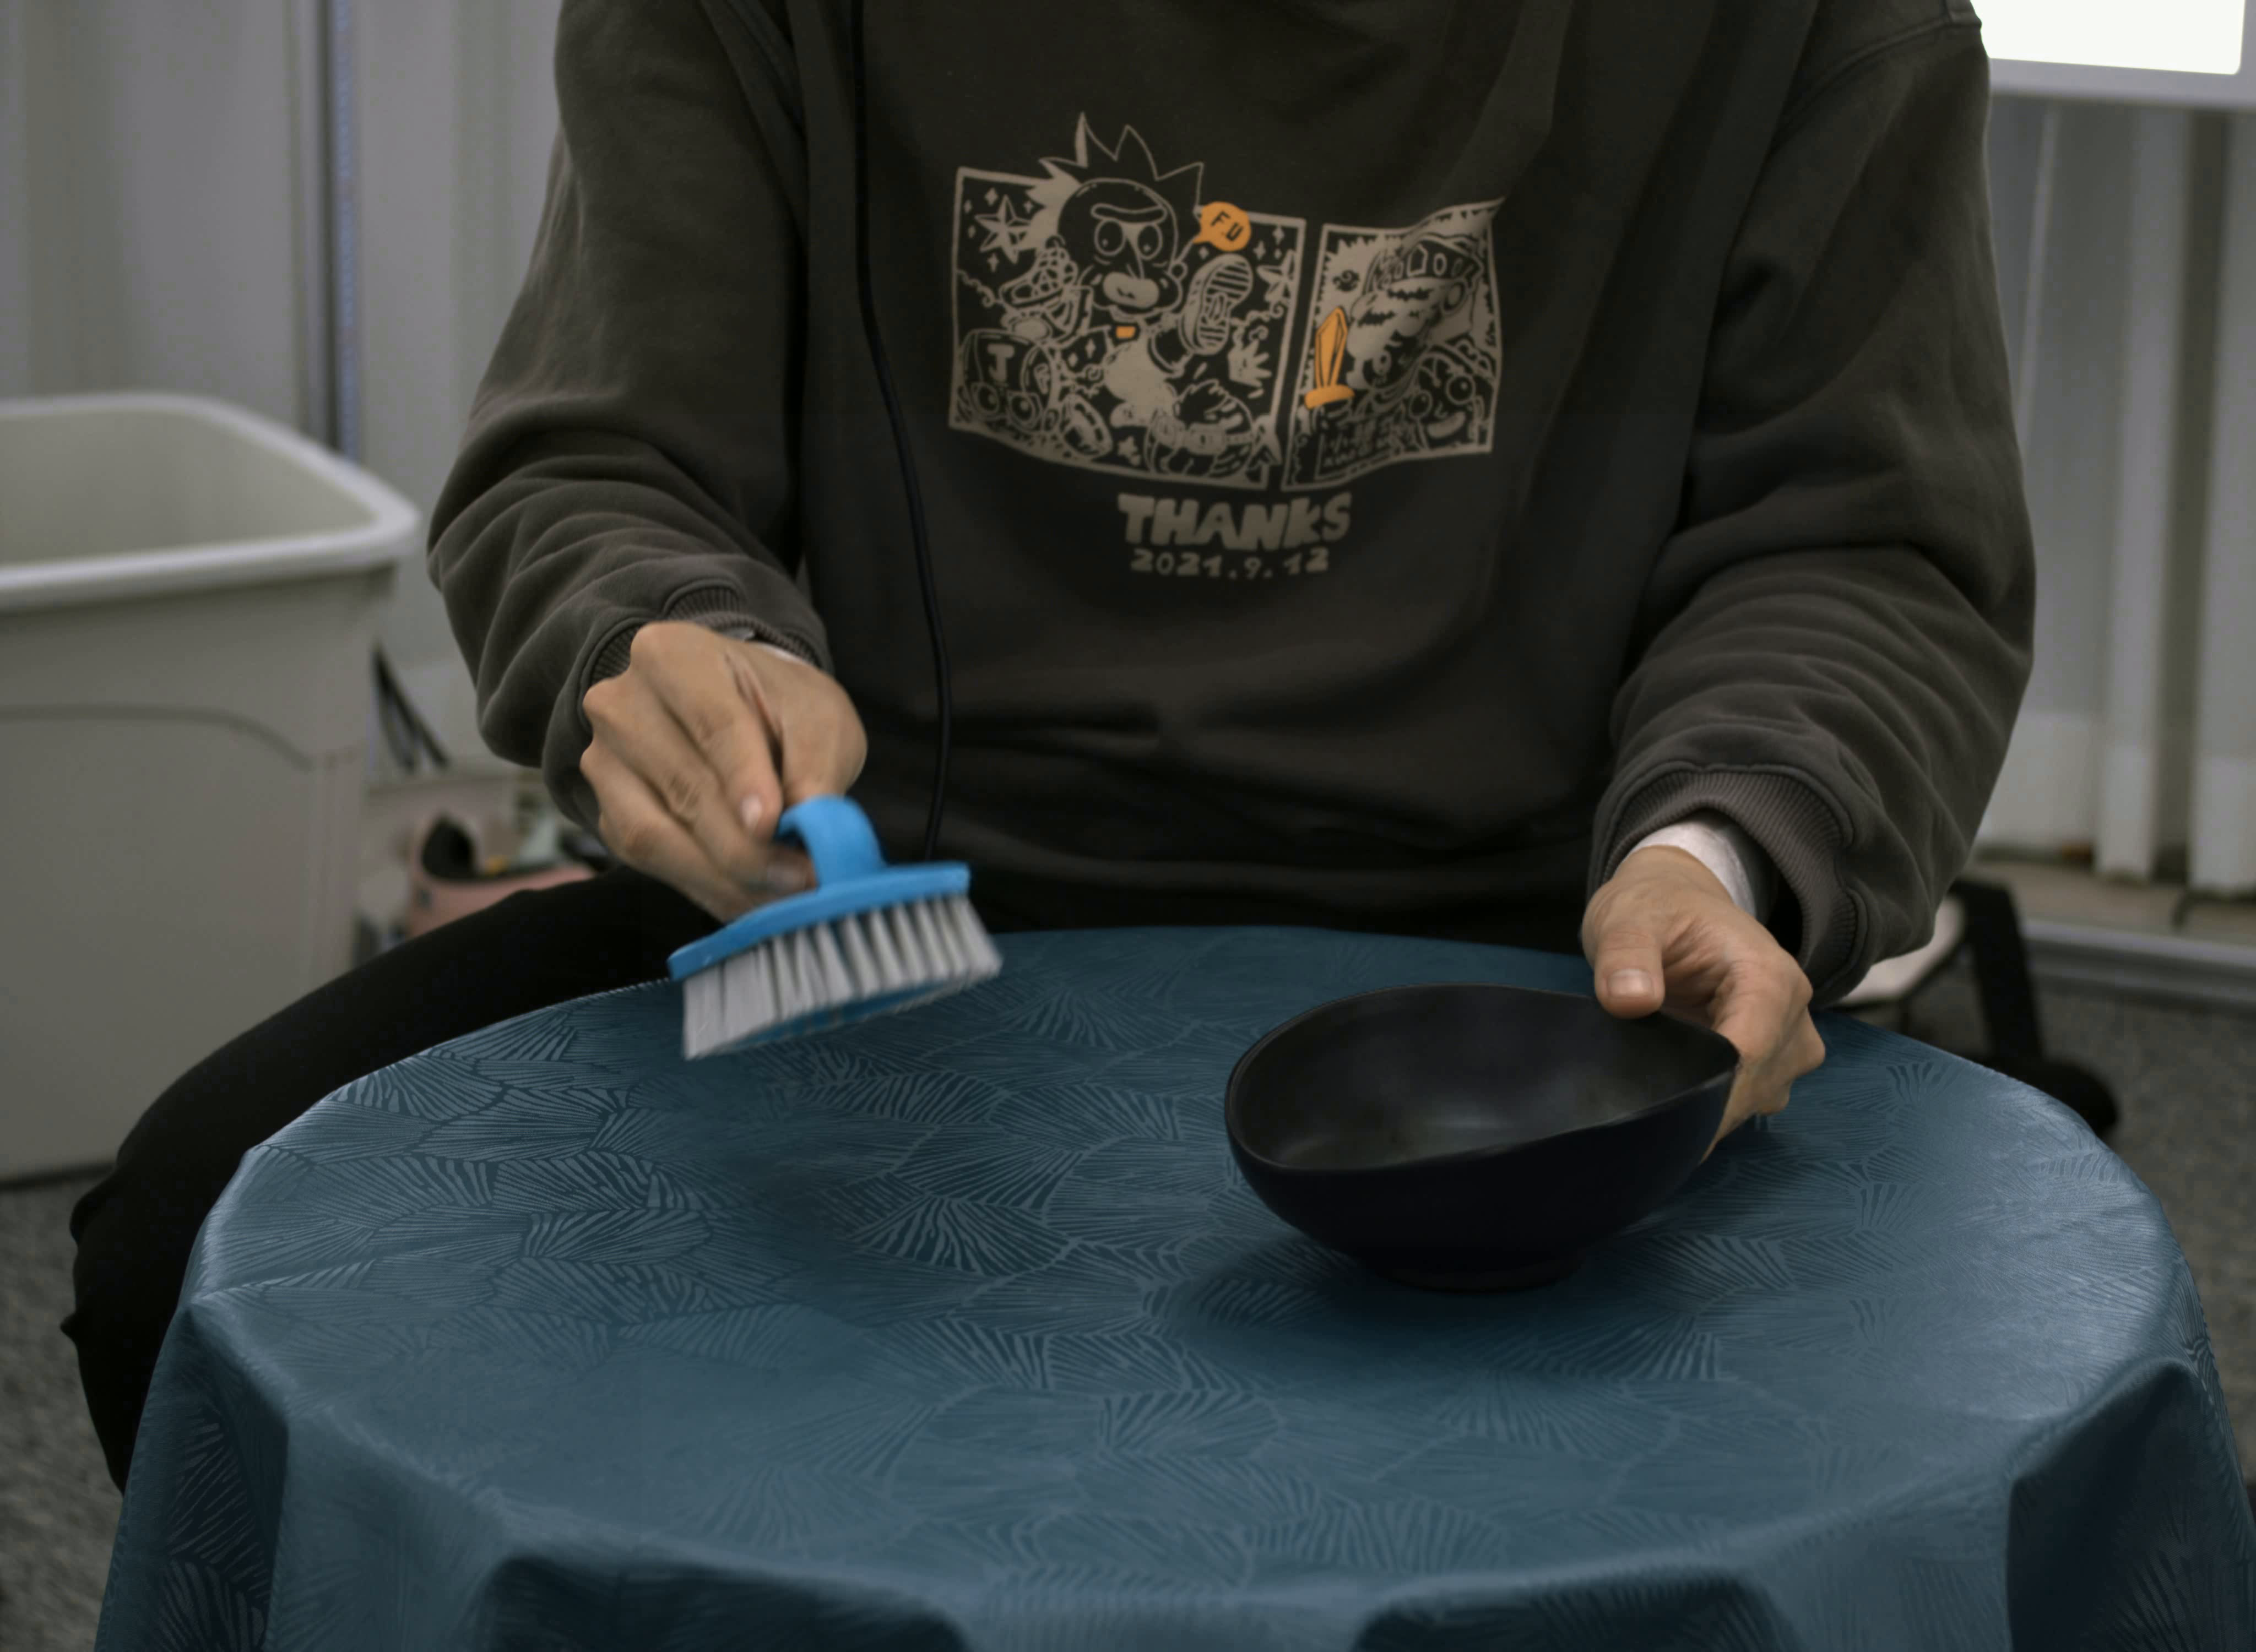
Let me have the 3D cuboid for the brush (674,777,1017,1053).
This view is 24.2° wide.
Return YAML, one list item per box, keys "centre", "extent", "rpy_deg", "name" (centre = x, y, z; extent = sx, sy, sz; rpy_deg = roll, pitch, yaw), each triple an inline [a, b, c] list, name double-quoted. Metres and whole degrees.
- centre: [-0.090, 0.022, 1.564]
  extent: [0.084, 0.064, 0.141]
  rpy_deg: [-18, -5, -21]
  name: "brush"

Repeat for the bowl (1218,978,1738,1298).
- centre: [0.105, 0.098, 1.567]
  extent: [0.171, 0.067, 0.135]
  rpy_deg: [-16, 22, -42]
  name: "bowl"
